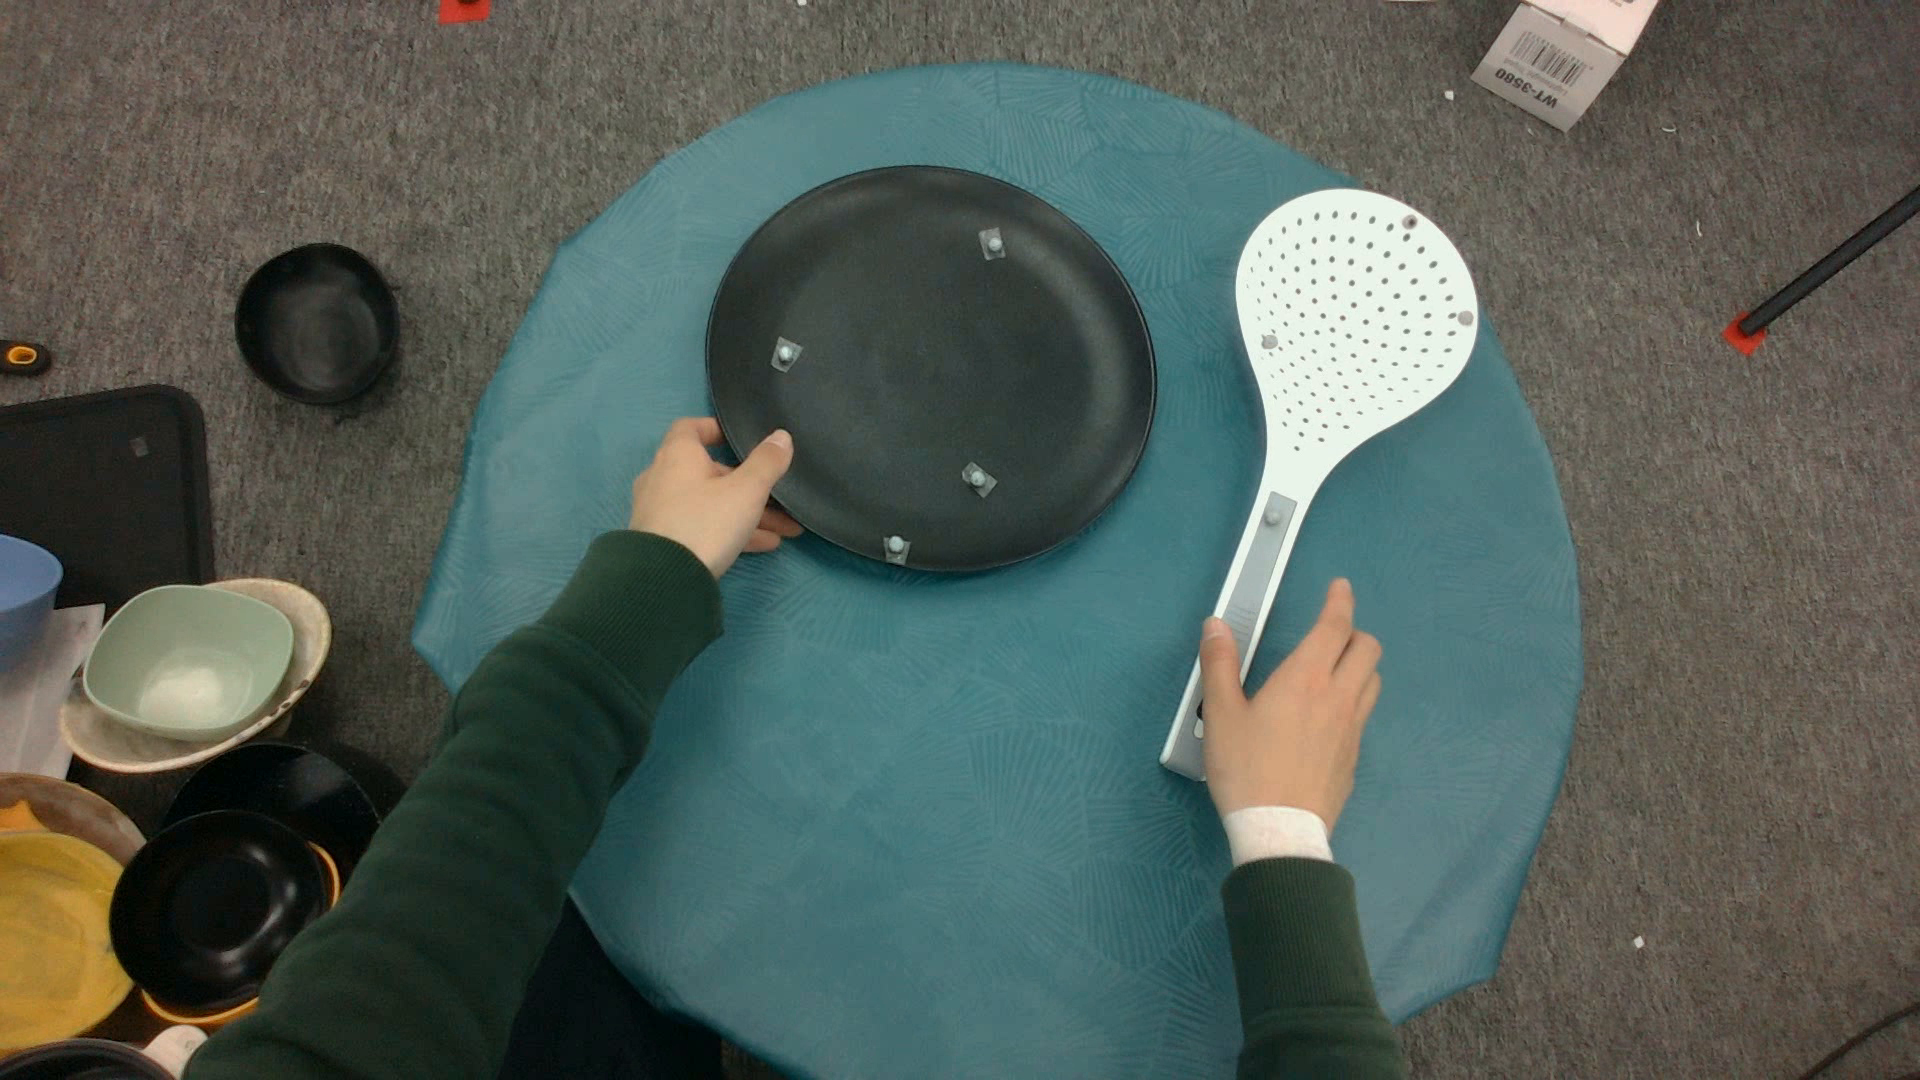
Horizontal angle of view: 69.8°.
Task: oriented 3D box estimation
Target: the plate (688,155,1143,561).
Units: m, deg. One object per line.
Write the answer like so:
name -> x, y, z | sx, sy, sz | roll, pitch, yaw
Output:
plate -> -0.022, -0.100, 0.740 | 0.244, 0.023, 0.245 | 4, 68, -9

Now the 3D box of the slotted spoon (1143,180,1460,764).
slotted spoon -> 0.171, -0.044, 0.741 | 0.136, 0.045, 0.351 | 23, 68, 2
